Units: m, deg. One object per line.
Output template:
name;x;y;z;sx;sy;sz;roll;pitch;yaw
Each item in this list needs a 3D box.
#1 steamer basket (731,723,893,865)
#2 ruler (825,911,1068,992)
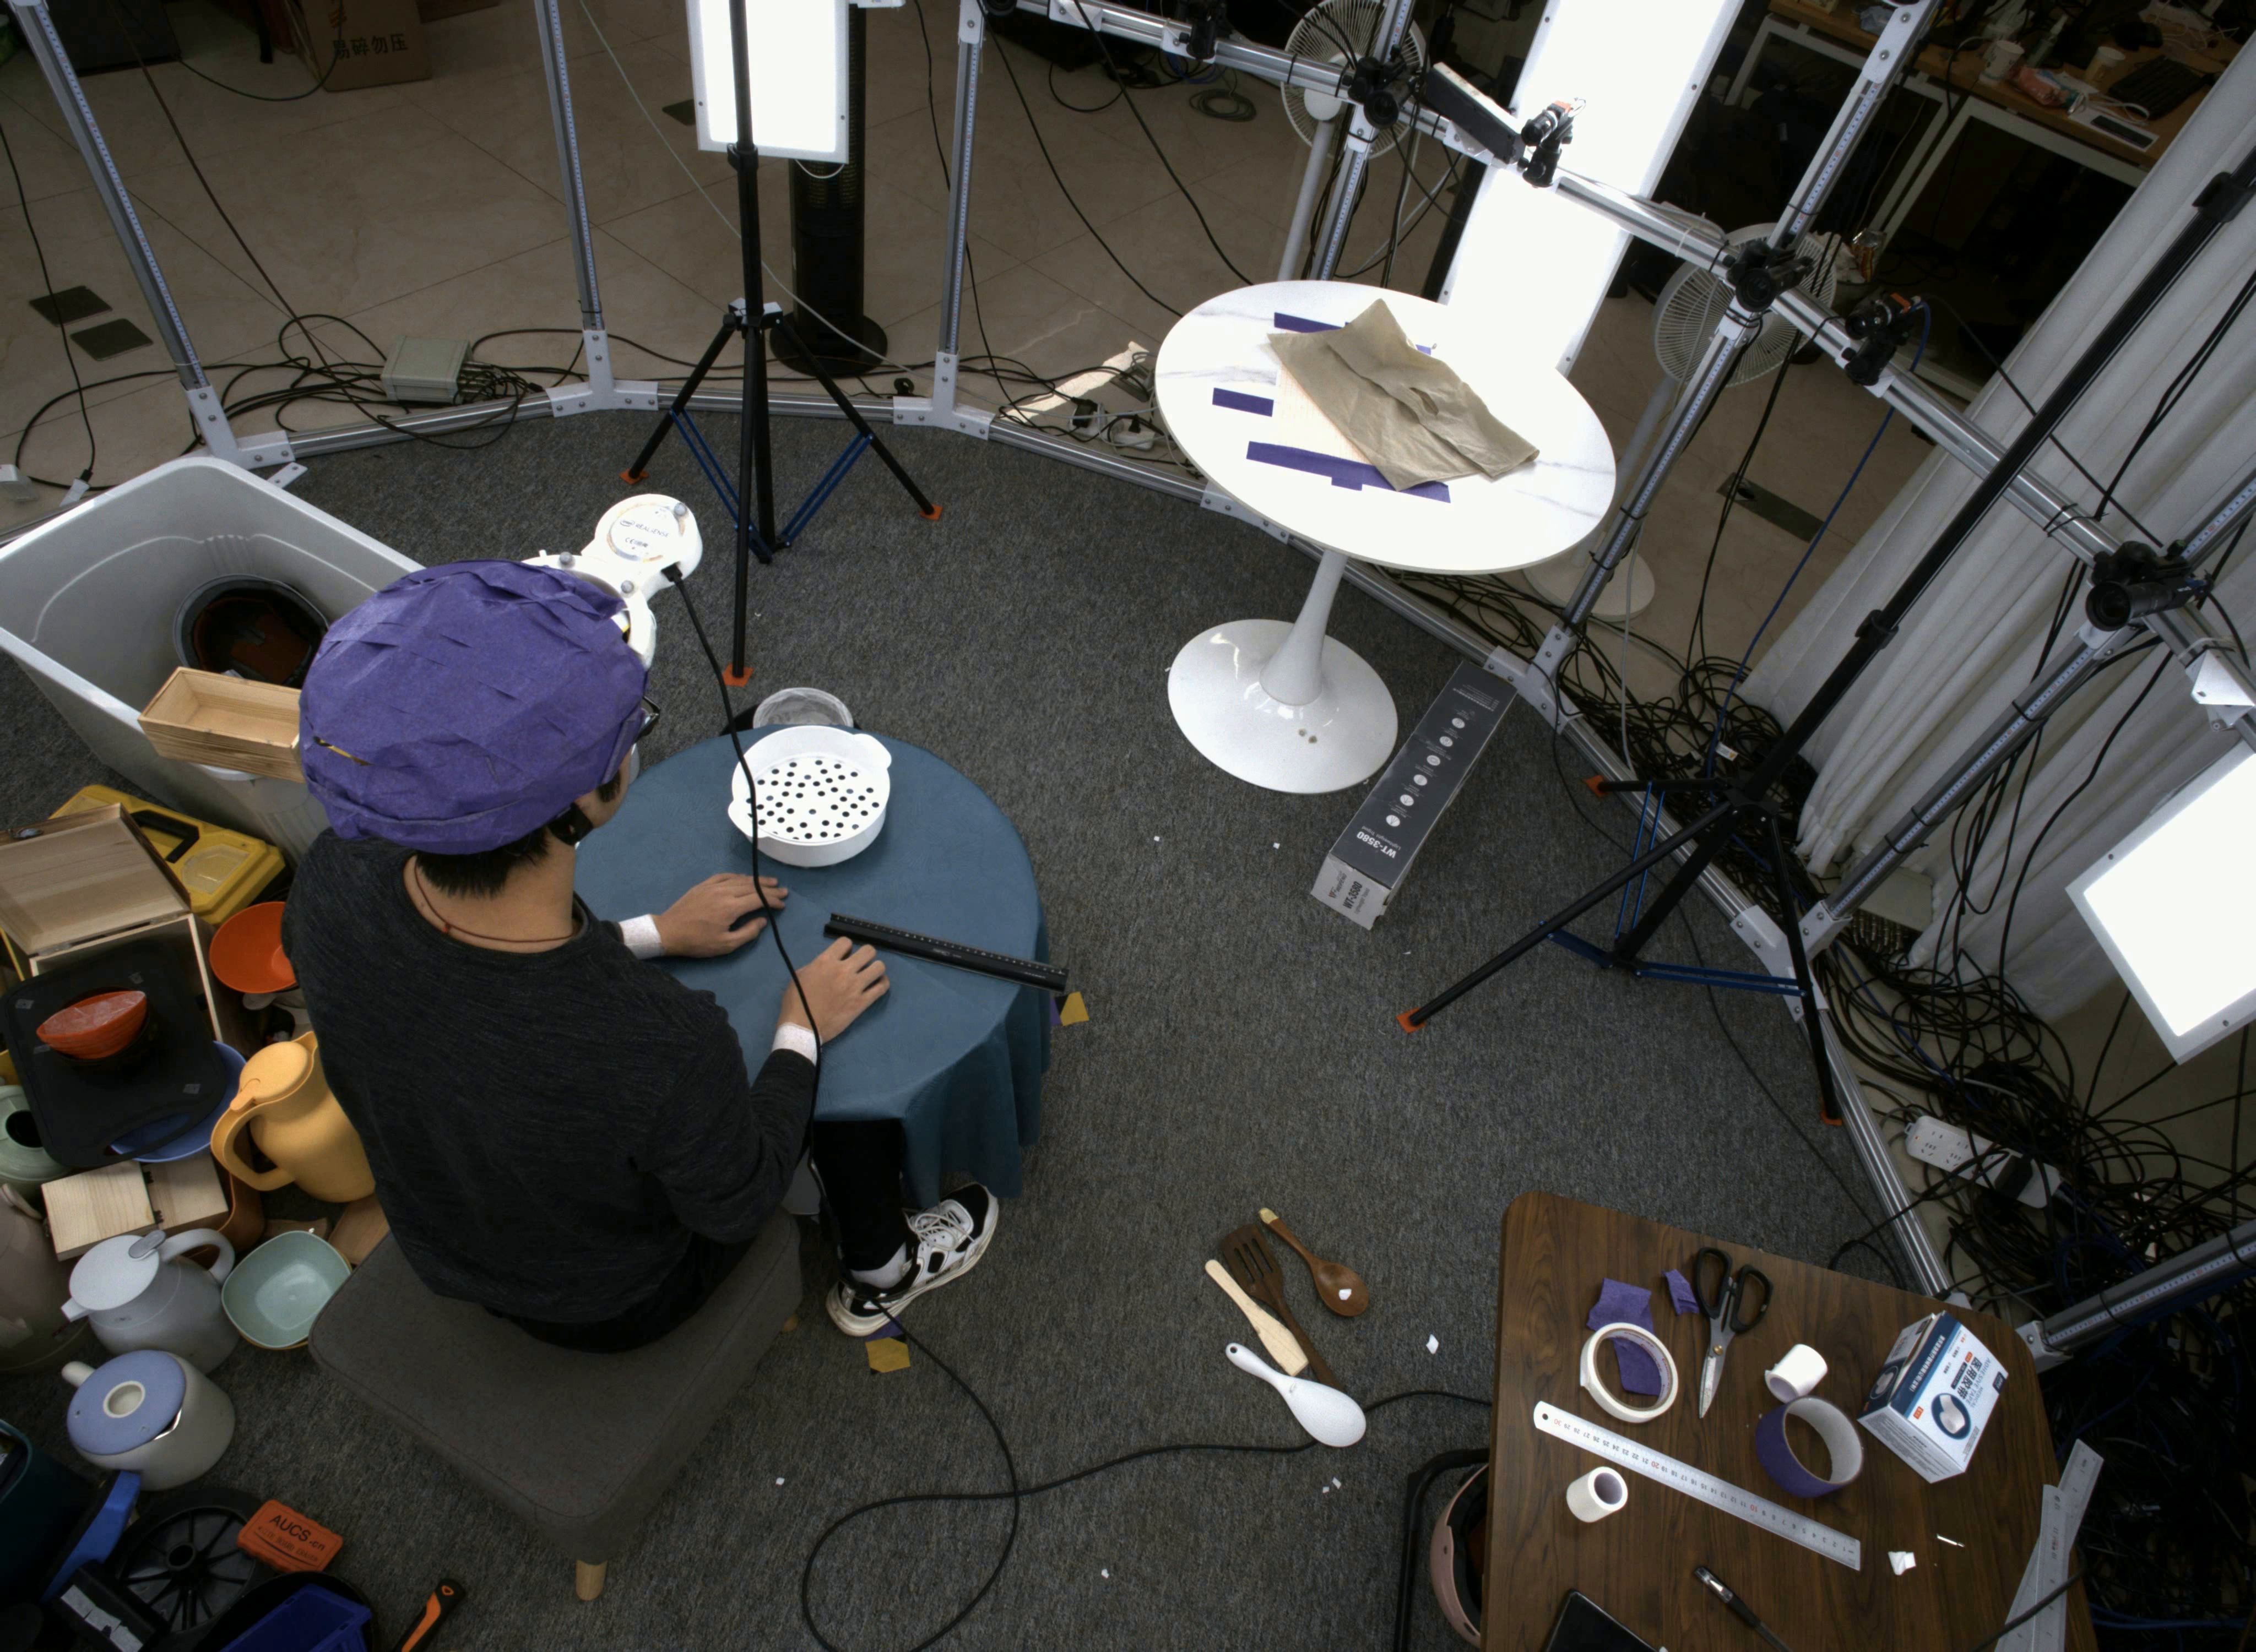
steamer basket;-0.414;-0.042;1.709;0.197;0.070;0.231;43;53;18
ruler;-0.227;0.153;1.646;0.311;0.017;0.039;14;49;-4
